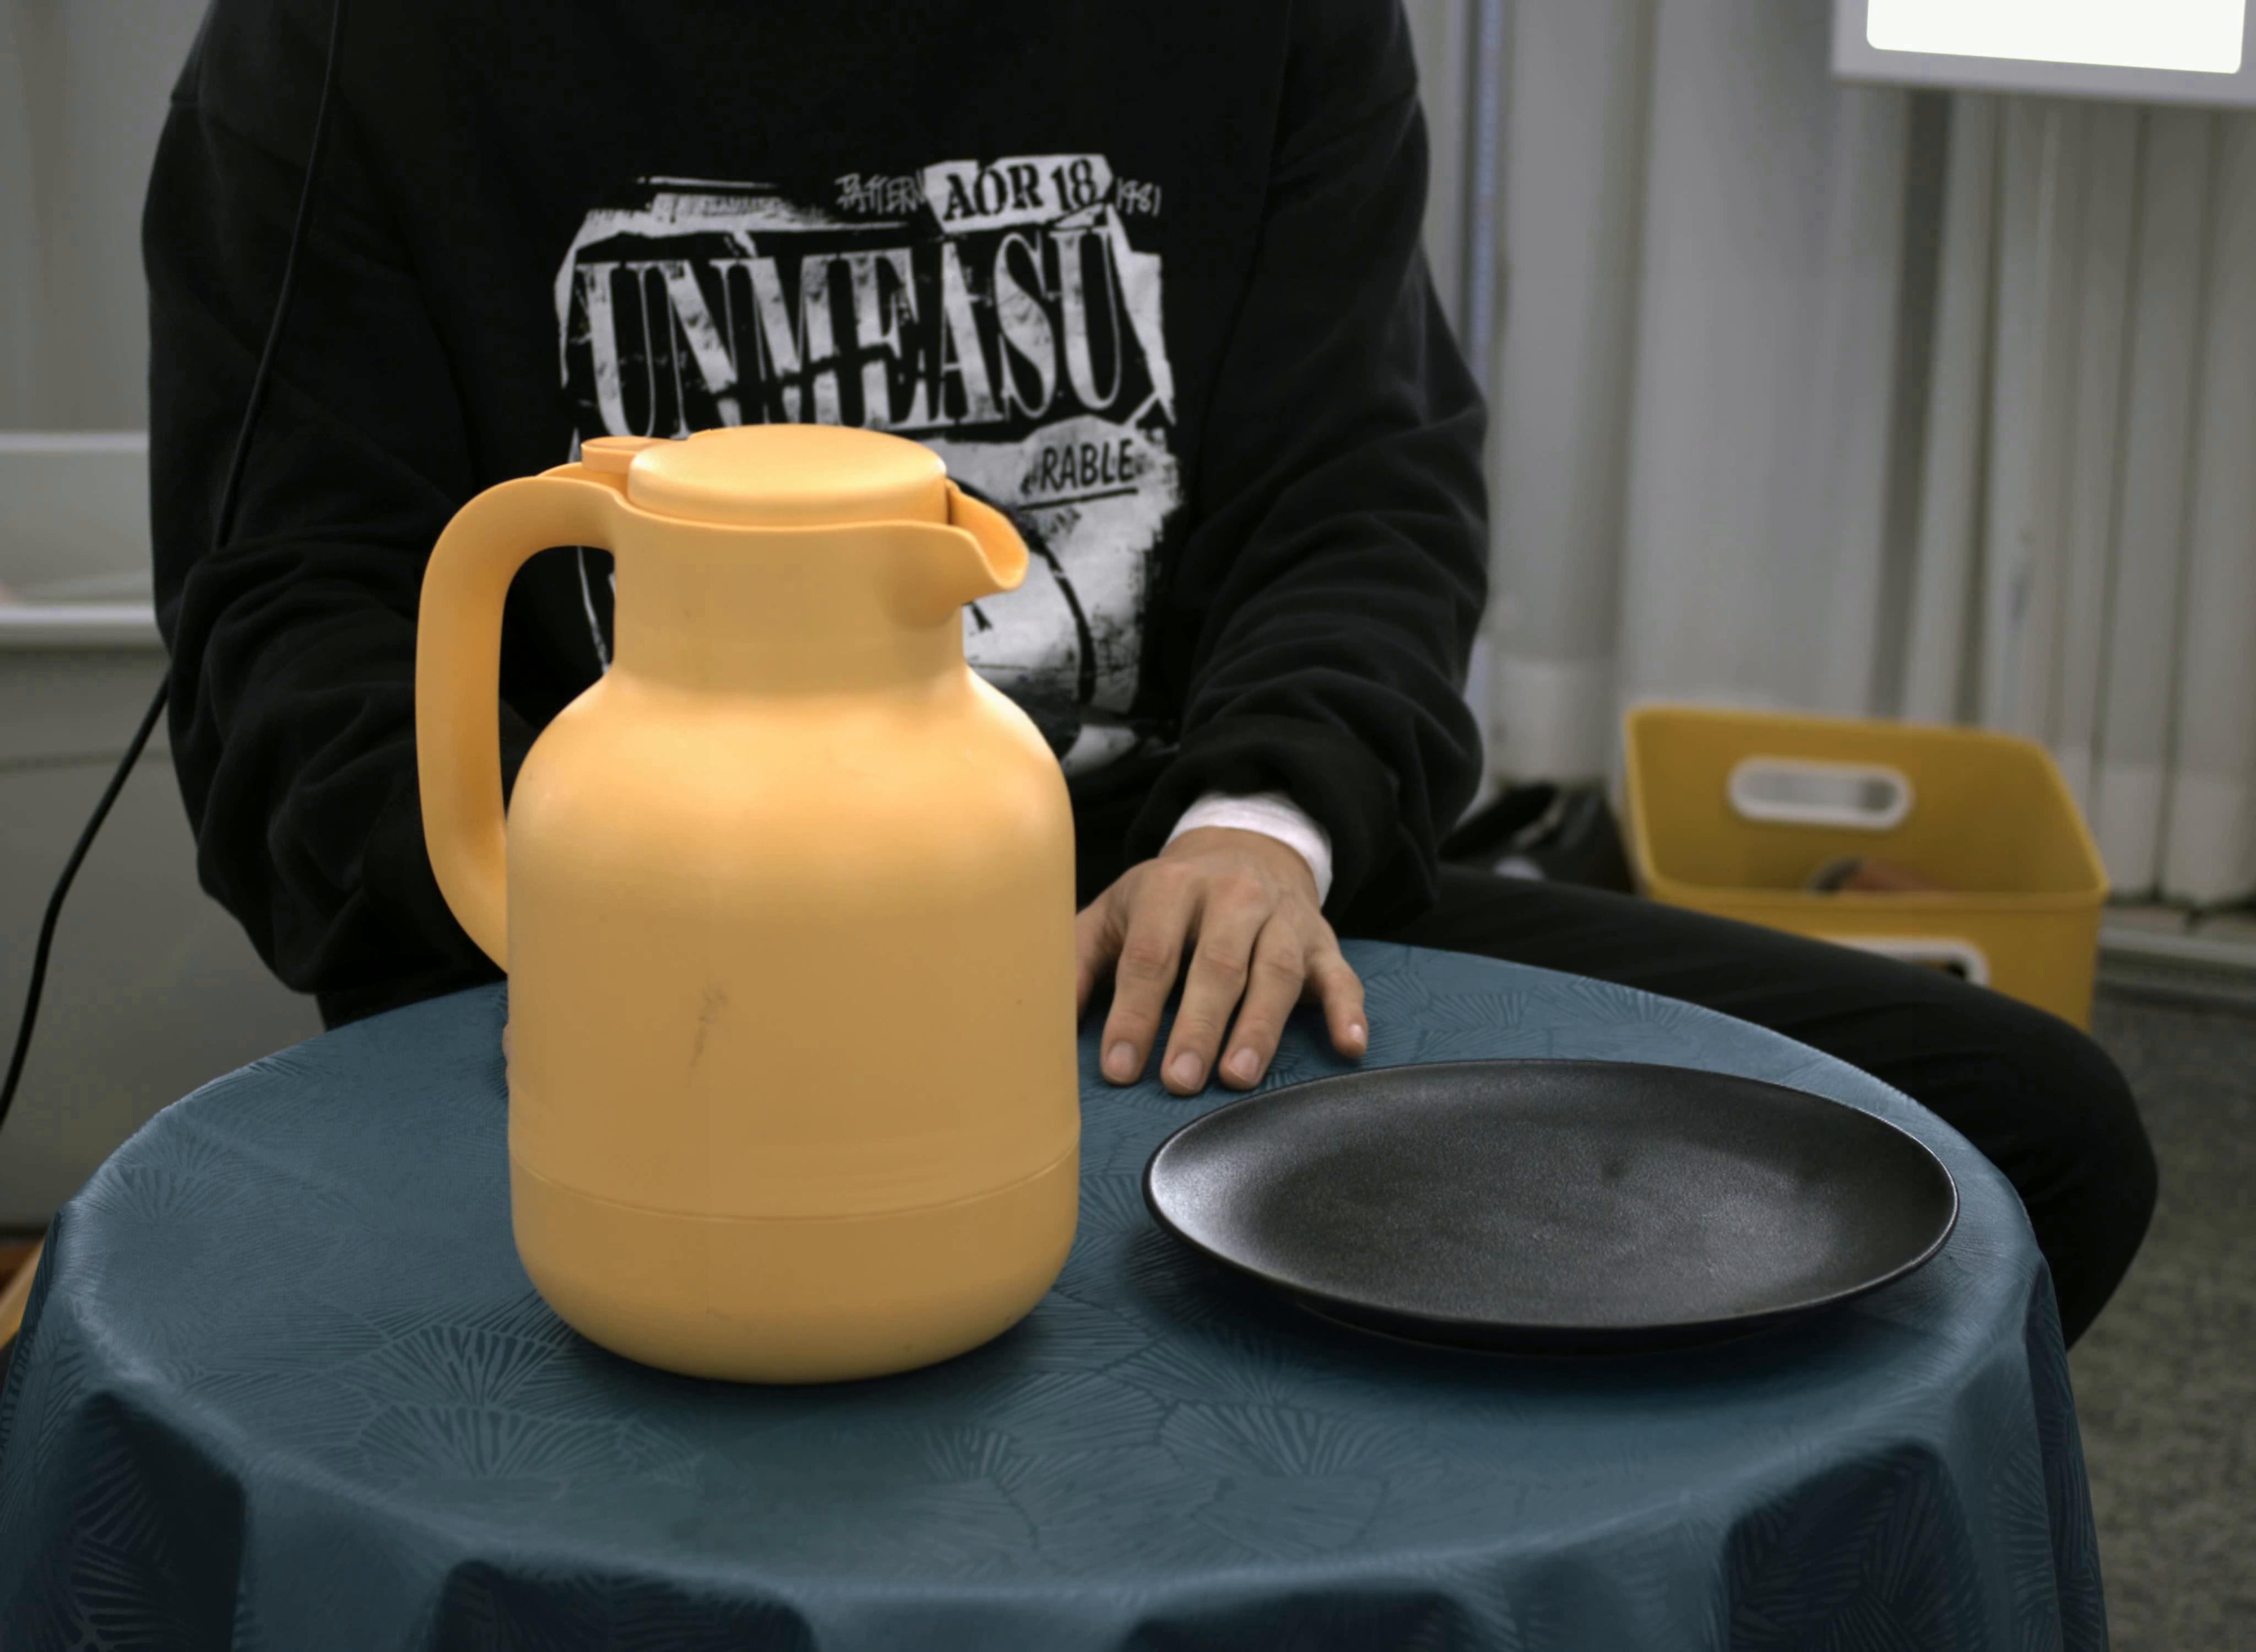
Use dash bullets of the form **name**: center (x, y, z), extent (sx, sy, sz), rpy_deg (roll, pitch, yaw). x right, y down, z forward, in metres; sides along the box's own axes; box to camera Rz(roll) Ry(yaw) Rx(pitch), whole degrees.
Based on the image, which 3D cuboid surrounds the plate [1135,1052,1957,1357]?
- **plate**: center (0.124, 0.115, 1.570), extent (0.243, 0.023, 0.243), rpy_deg (1, 16, 0)

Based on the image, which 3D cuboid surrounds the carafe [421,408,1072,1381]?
- **carafe**: center (-0.112, 0.012, 1.488), extent (0.200, 0.262, 0.164), rpy_deg (12, 17, 30)
